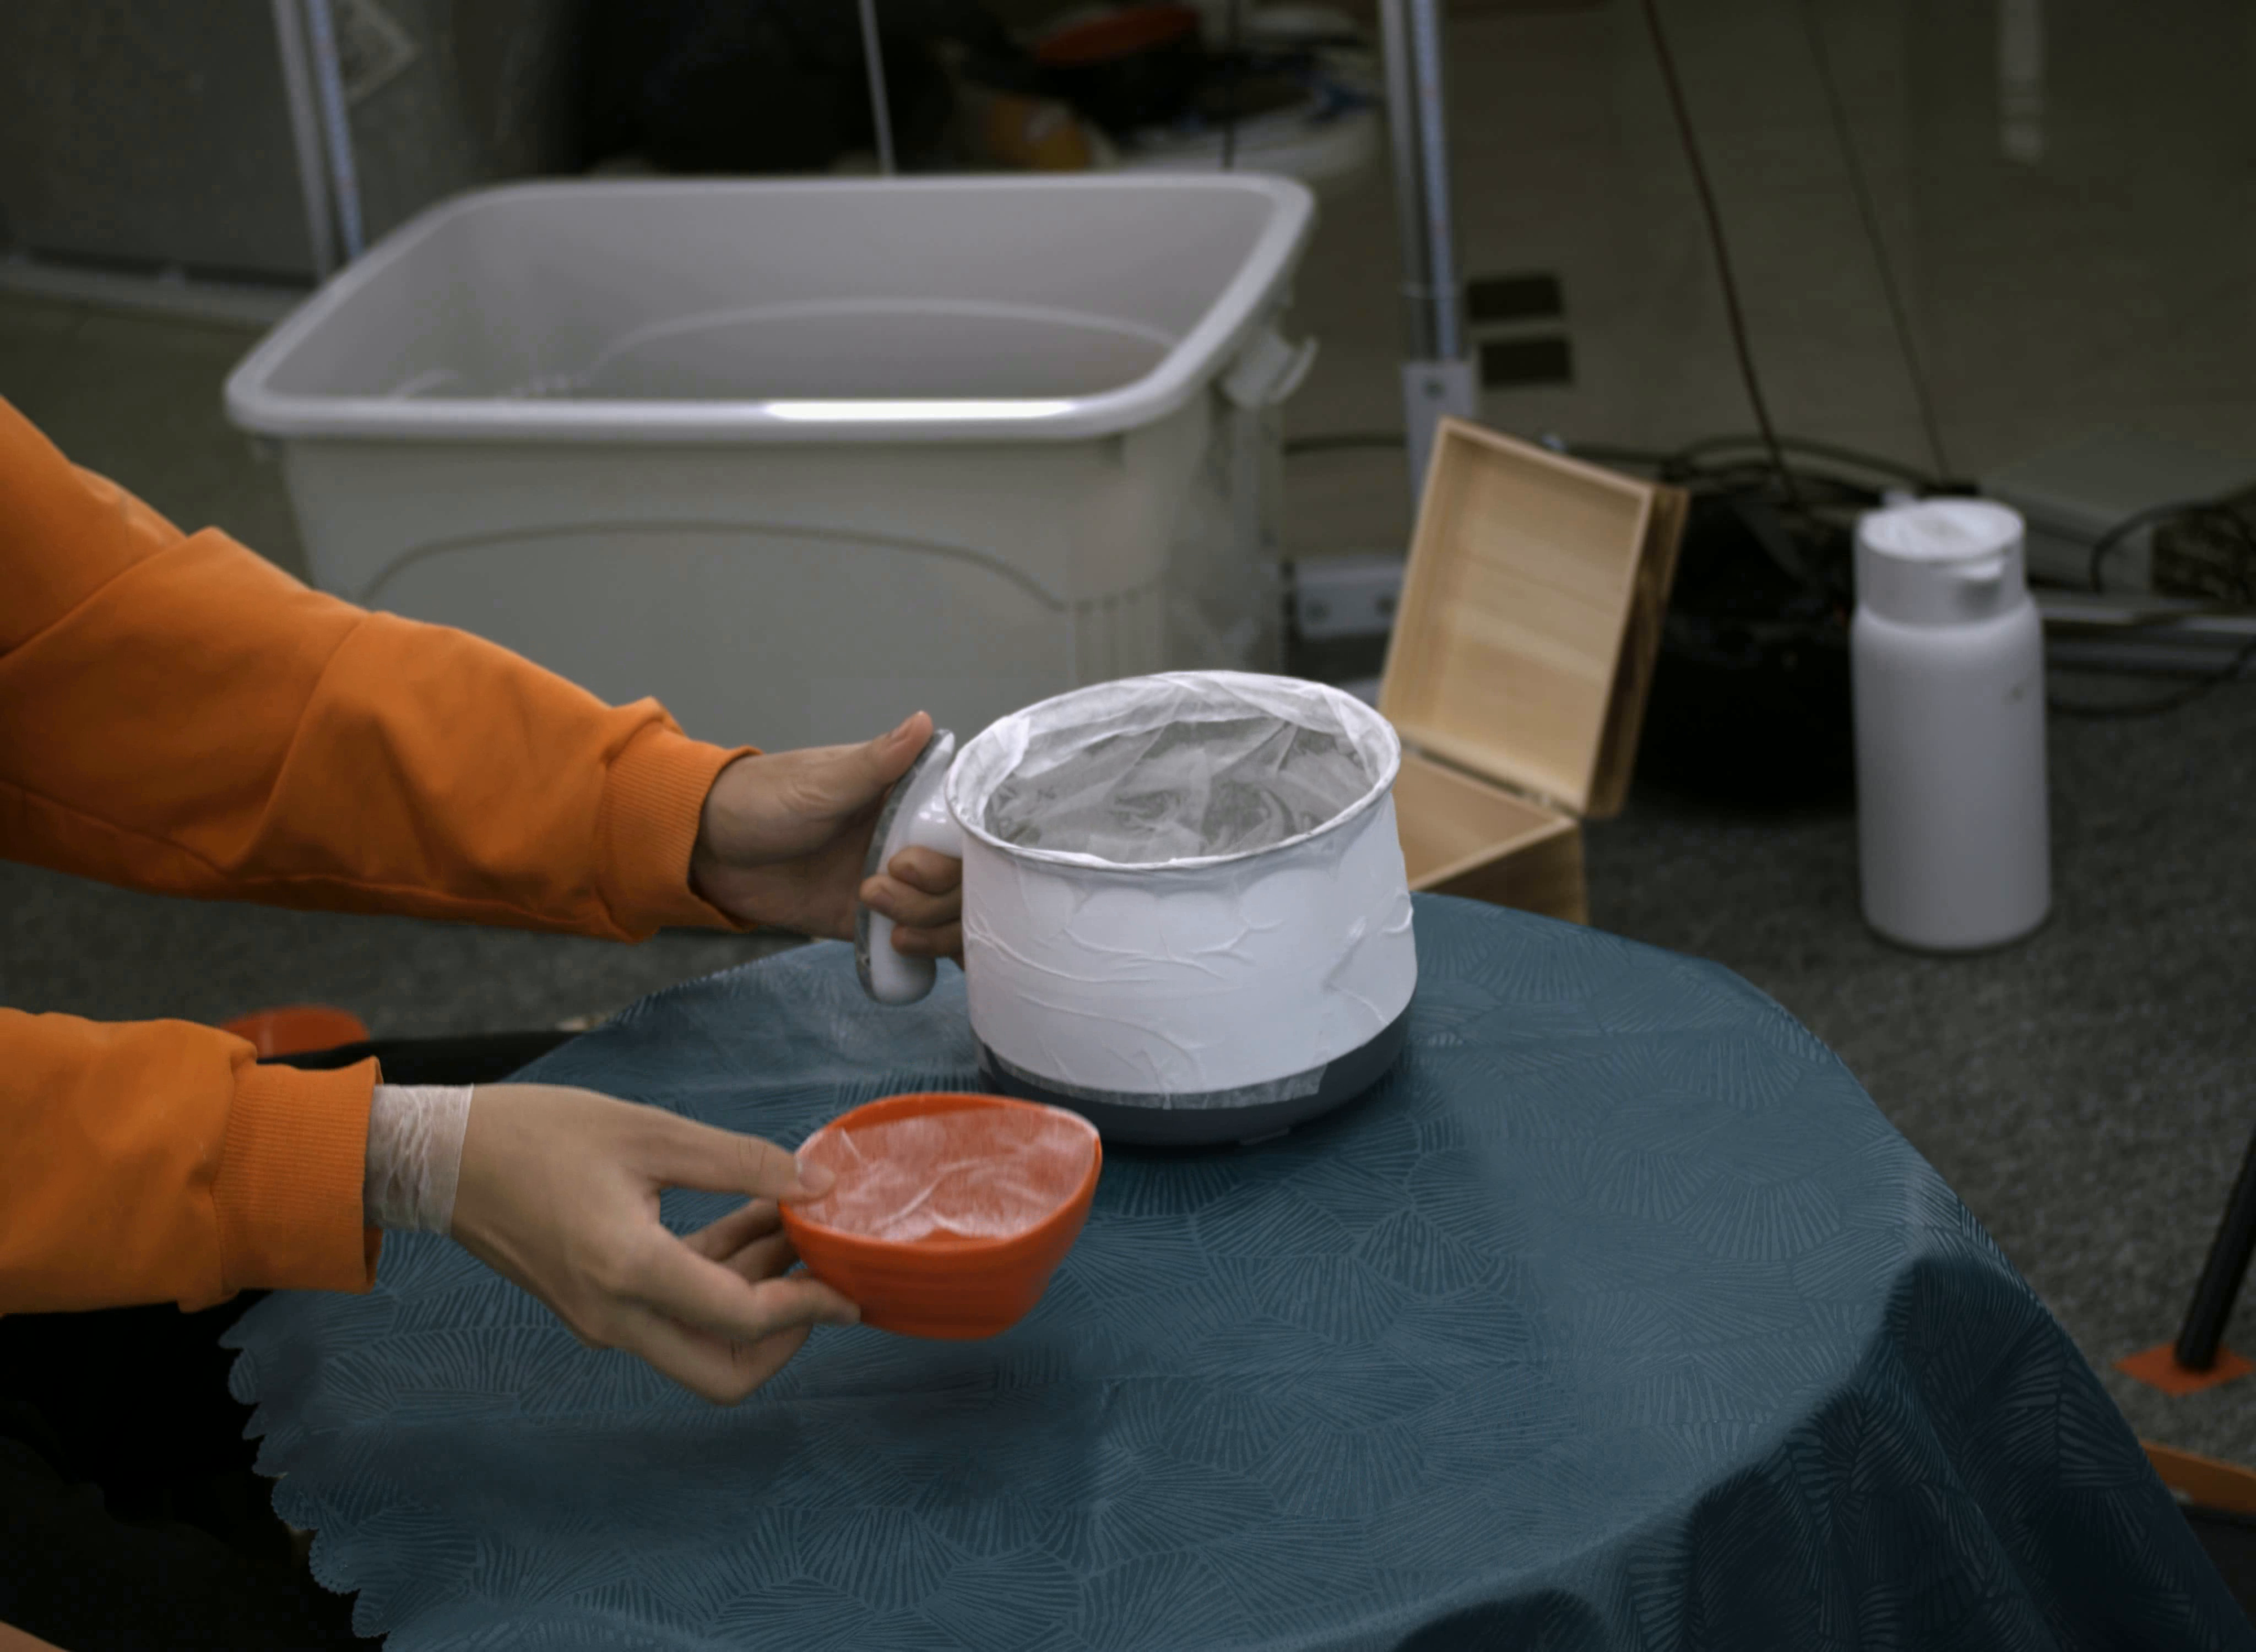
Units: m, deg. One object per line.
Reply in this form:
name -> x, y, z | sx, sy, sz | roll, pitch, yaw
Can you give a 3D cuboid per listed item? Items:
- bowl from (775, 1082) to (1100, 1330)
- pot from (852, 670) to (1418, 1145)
bowl -> -0.065, 0.139, 2.003 | 0.119, 0.052, 0.117 | -3, 27, 2
pot -> -0.003, 0.031, 2.210 | 0.233, 0.139, 0.176 | 6, 28, 22
